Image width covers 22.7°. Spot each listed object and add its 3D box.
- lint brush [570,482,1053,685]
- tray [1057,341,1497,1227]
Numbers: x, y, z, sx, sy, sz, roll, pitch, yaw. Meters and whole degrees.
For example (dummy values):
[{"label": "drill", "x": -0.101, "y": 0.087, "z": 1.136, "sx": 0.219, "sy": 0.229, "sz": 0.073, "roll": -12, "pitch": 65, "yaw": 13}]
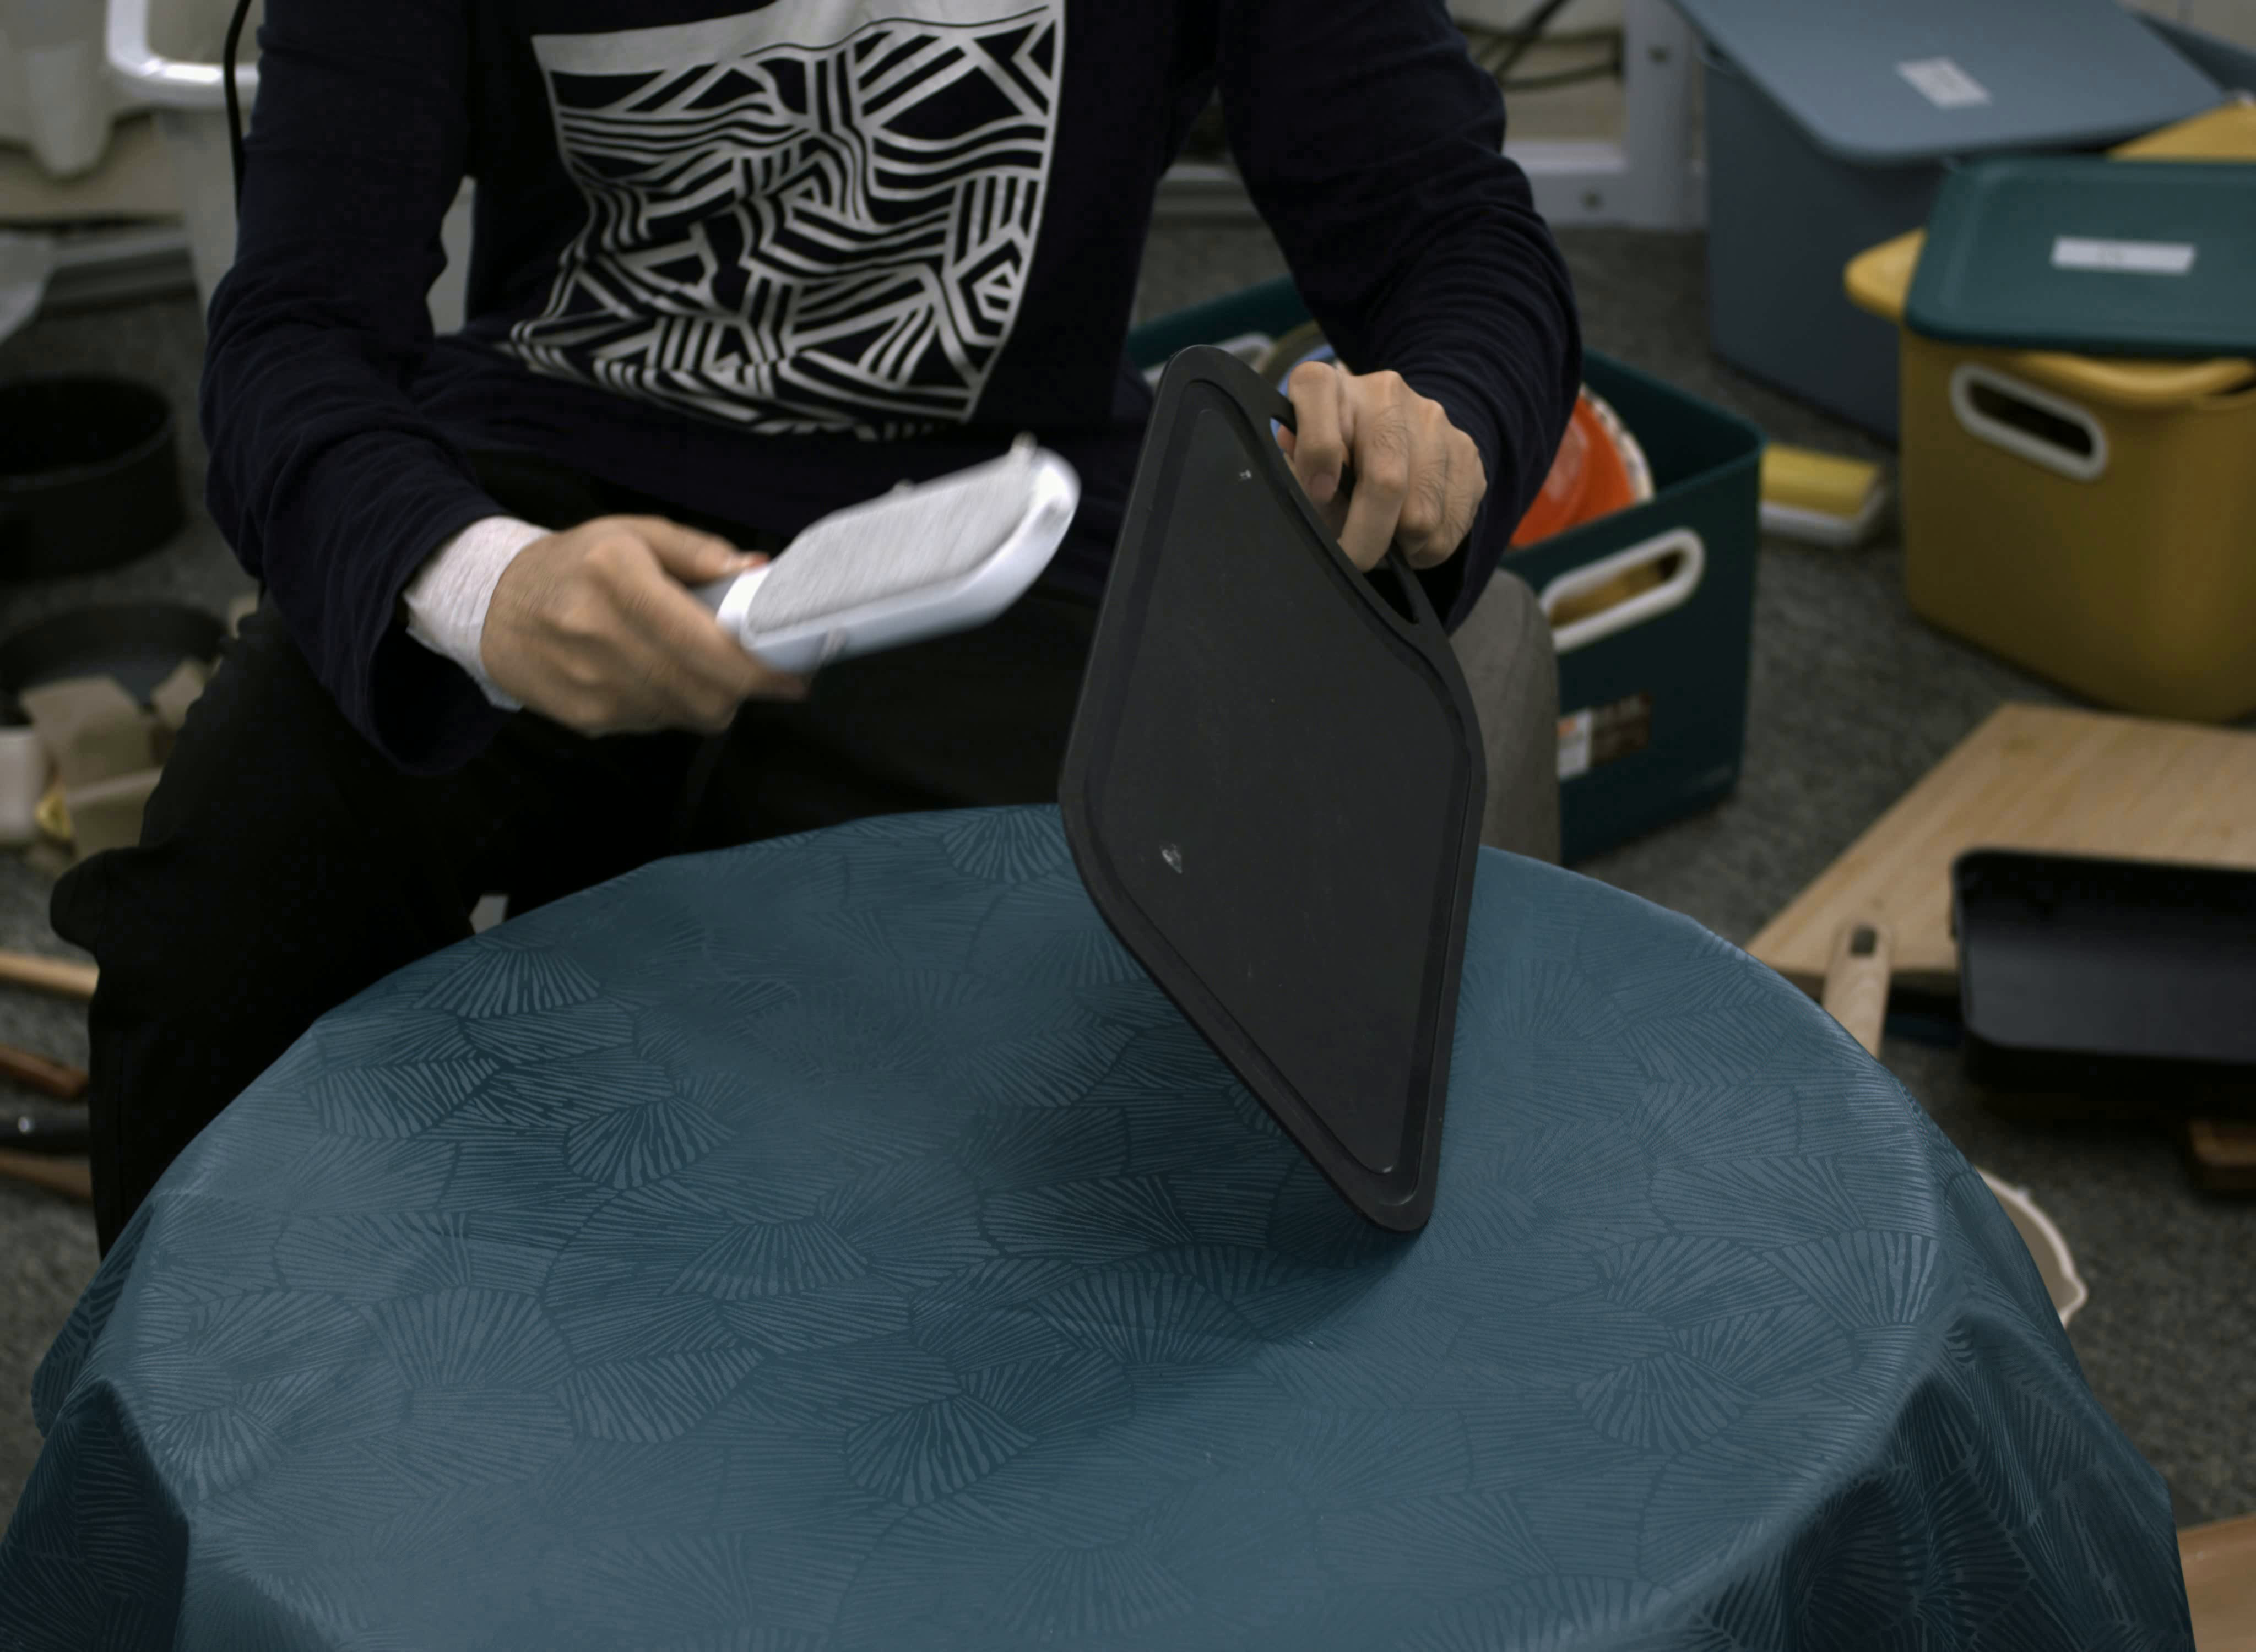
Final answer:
[{"label": "lint brush", "x": -0.111, "y": -0.074, "z": 1.869, "sx": 0.306, "sy": 0.021, "sz": 0.061, "roll": -8, "pitch": 50, "yaw": 58}, {"label": "tray", "x": 0.057, "y": -0.026, "z": 1.898, "sx": 0.009, "sy": 0.210, "sz": 0.332, "roll": -26, "pitch": 28, "yaw": 27}]
